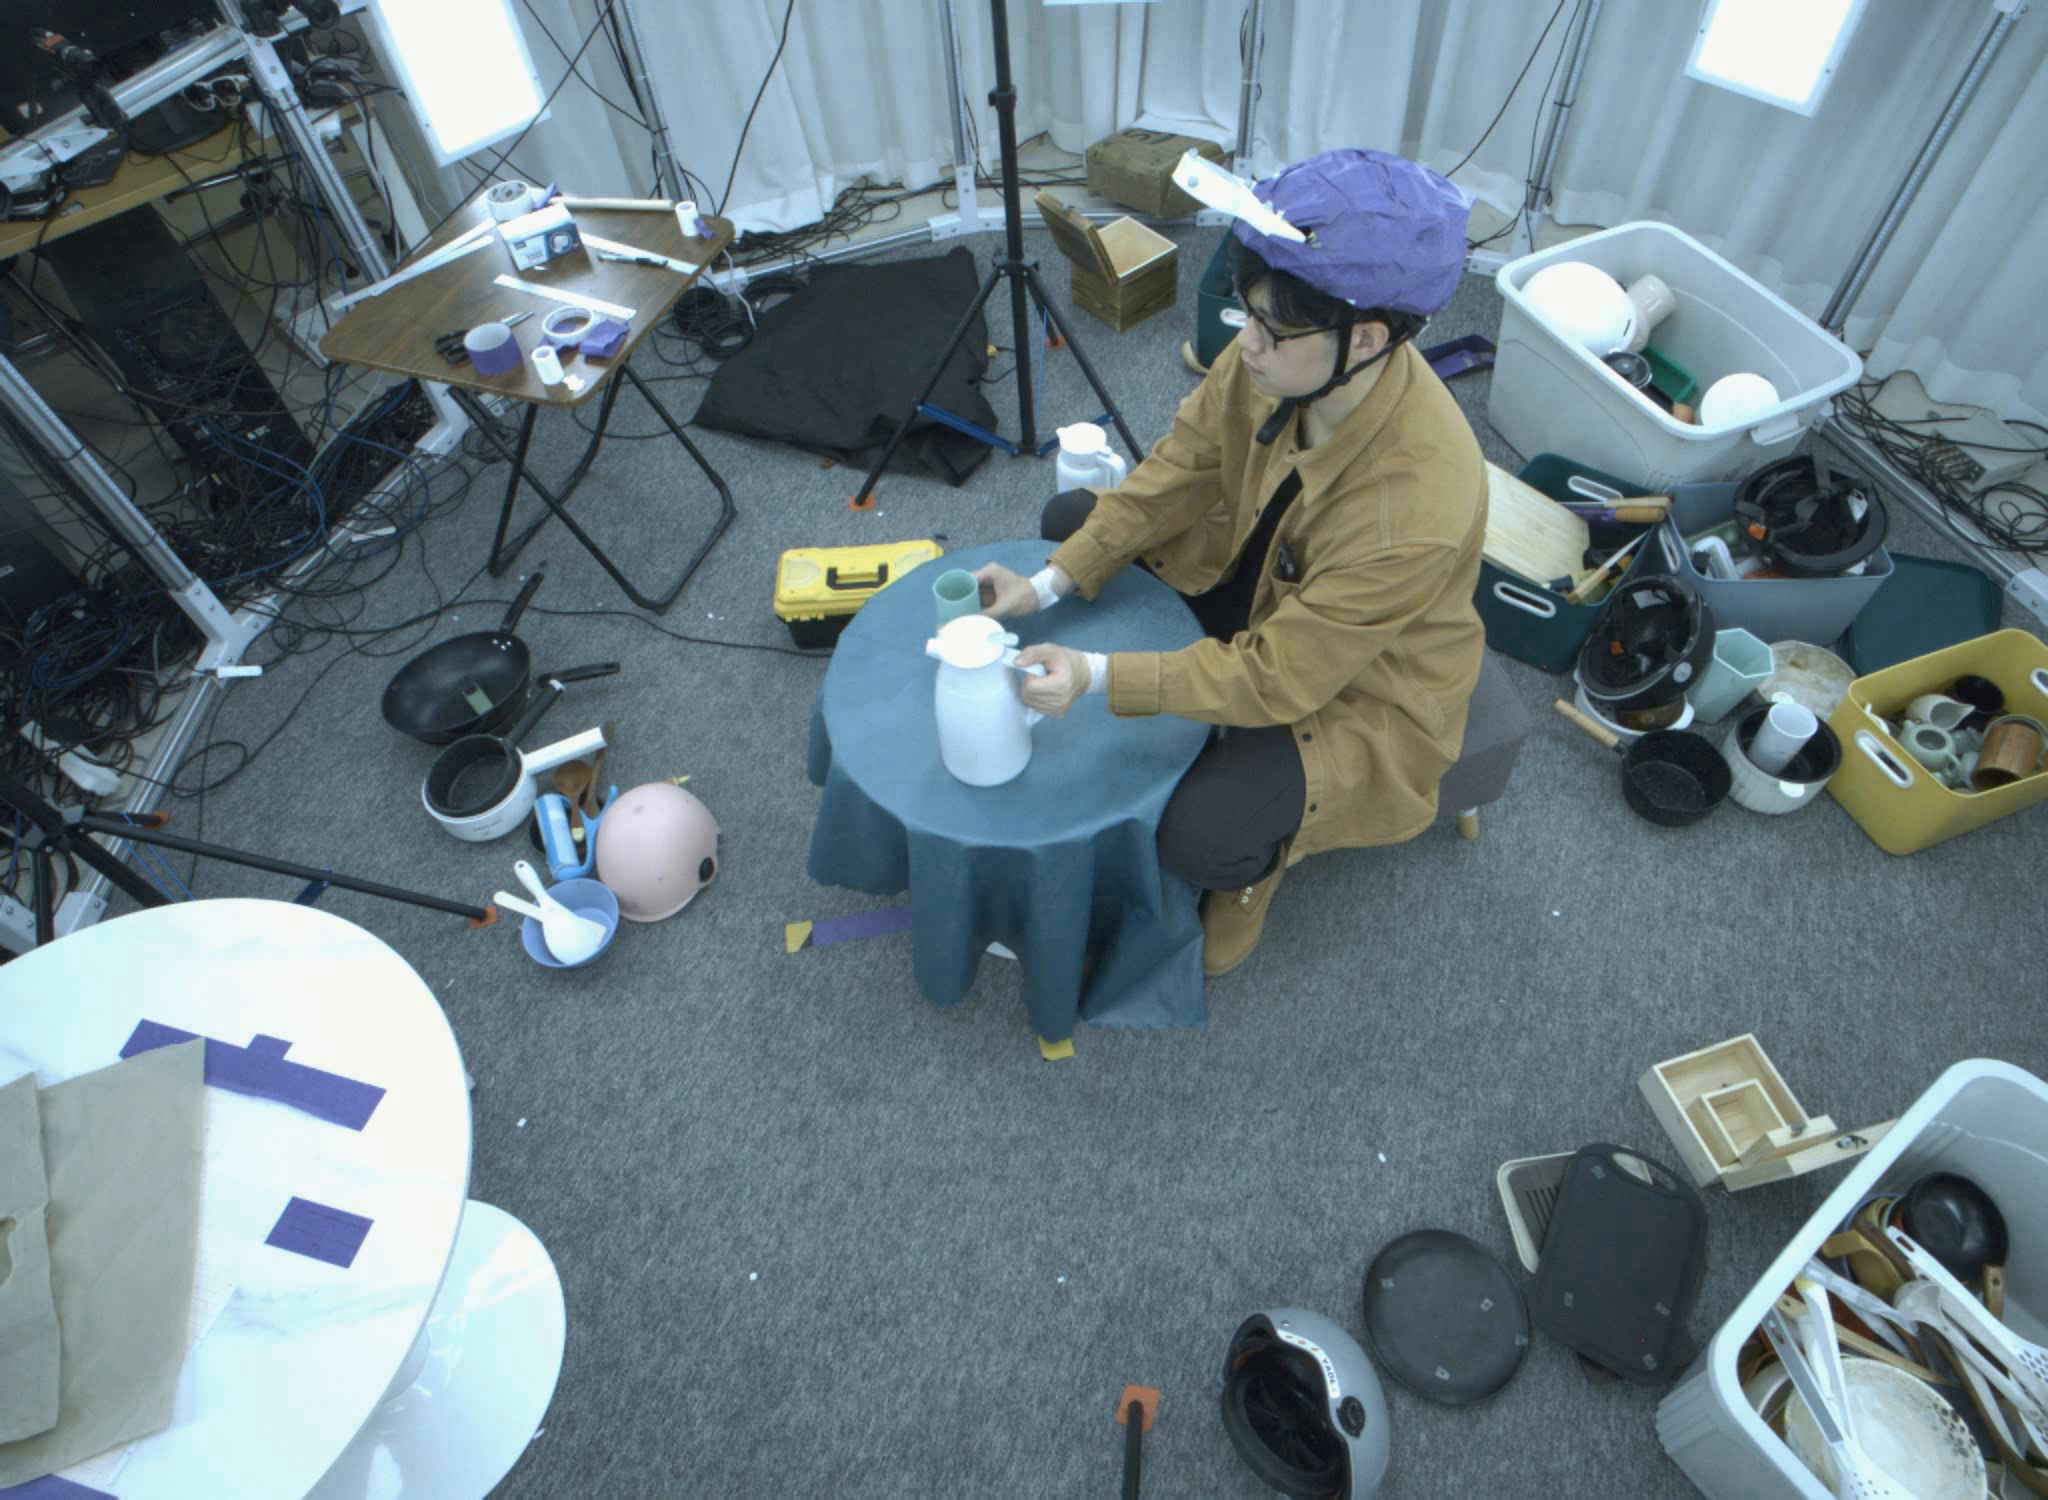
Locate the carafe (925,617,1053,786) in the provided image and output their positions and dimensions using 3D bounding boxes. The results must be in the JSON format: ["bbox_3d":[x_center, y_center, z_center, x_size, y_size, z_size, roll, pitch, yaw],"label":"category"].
[{"bbox_3d":[-0.043,-0.071,1.684,0.167,0.251,0.131,5,56,6],"label":"carafe"}]

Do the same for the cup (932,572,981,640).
[{"bbox_3d":[-0.097,-0.200,1.850,0.066,0.134,0.066,-1,54,3],"label":"cup"}]
